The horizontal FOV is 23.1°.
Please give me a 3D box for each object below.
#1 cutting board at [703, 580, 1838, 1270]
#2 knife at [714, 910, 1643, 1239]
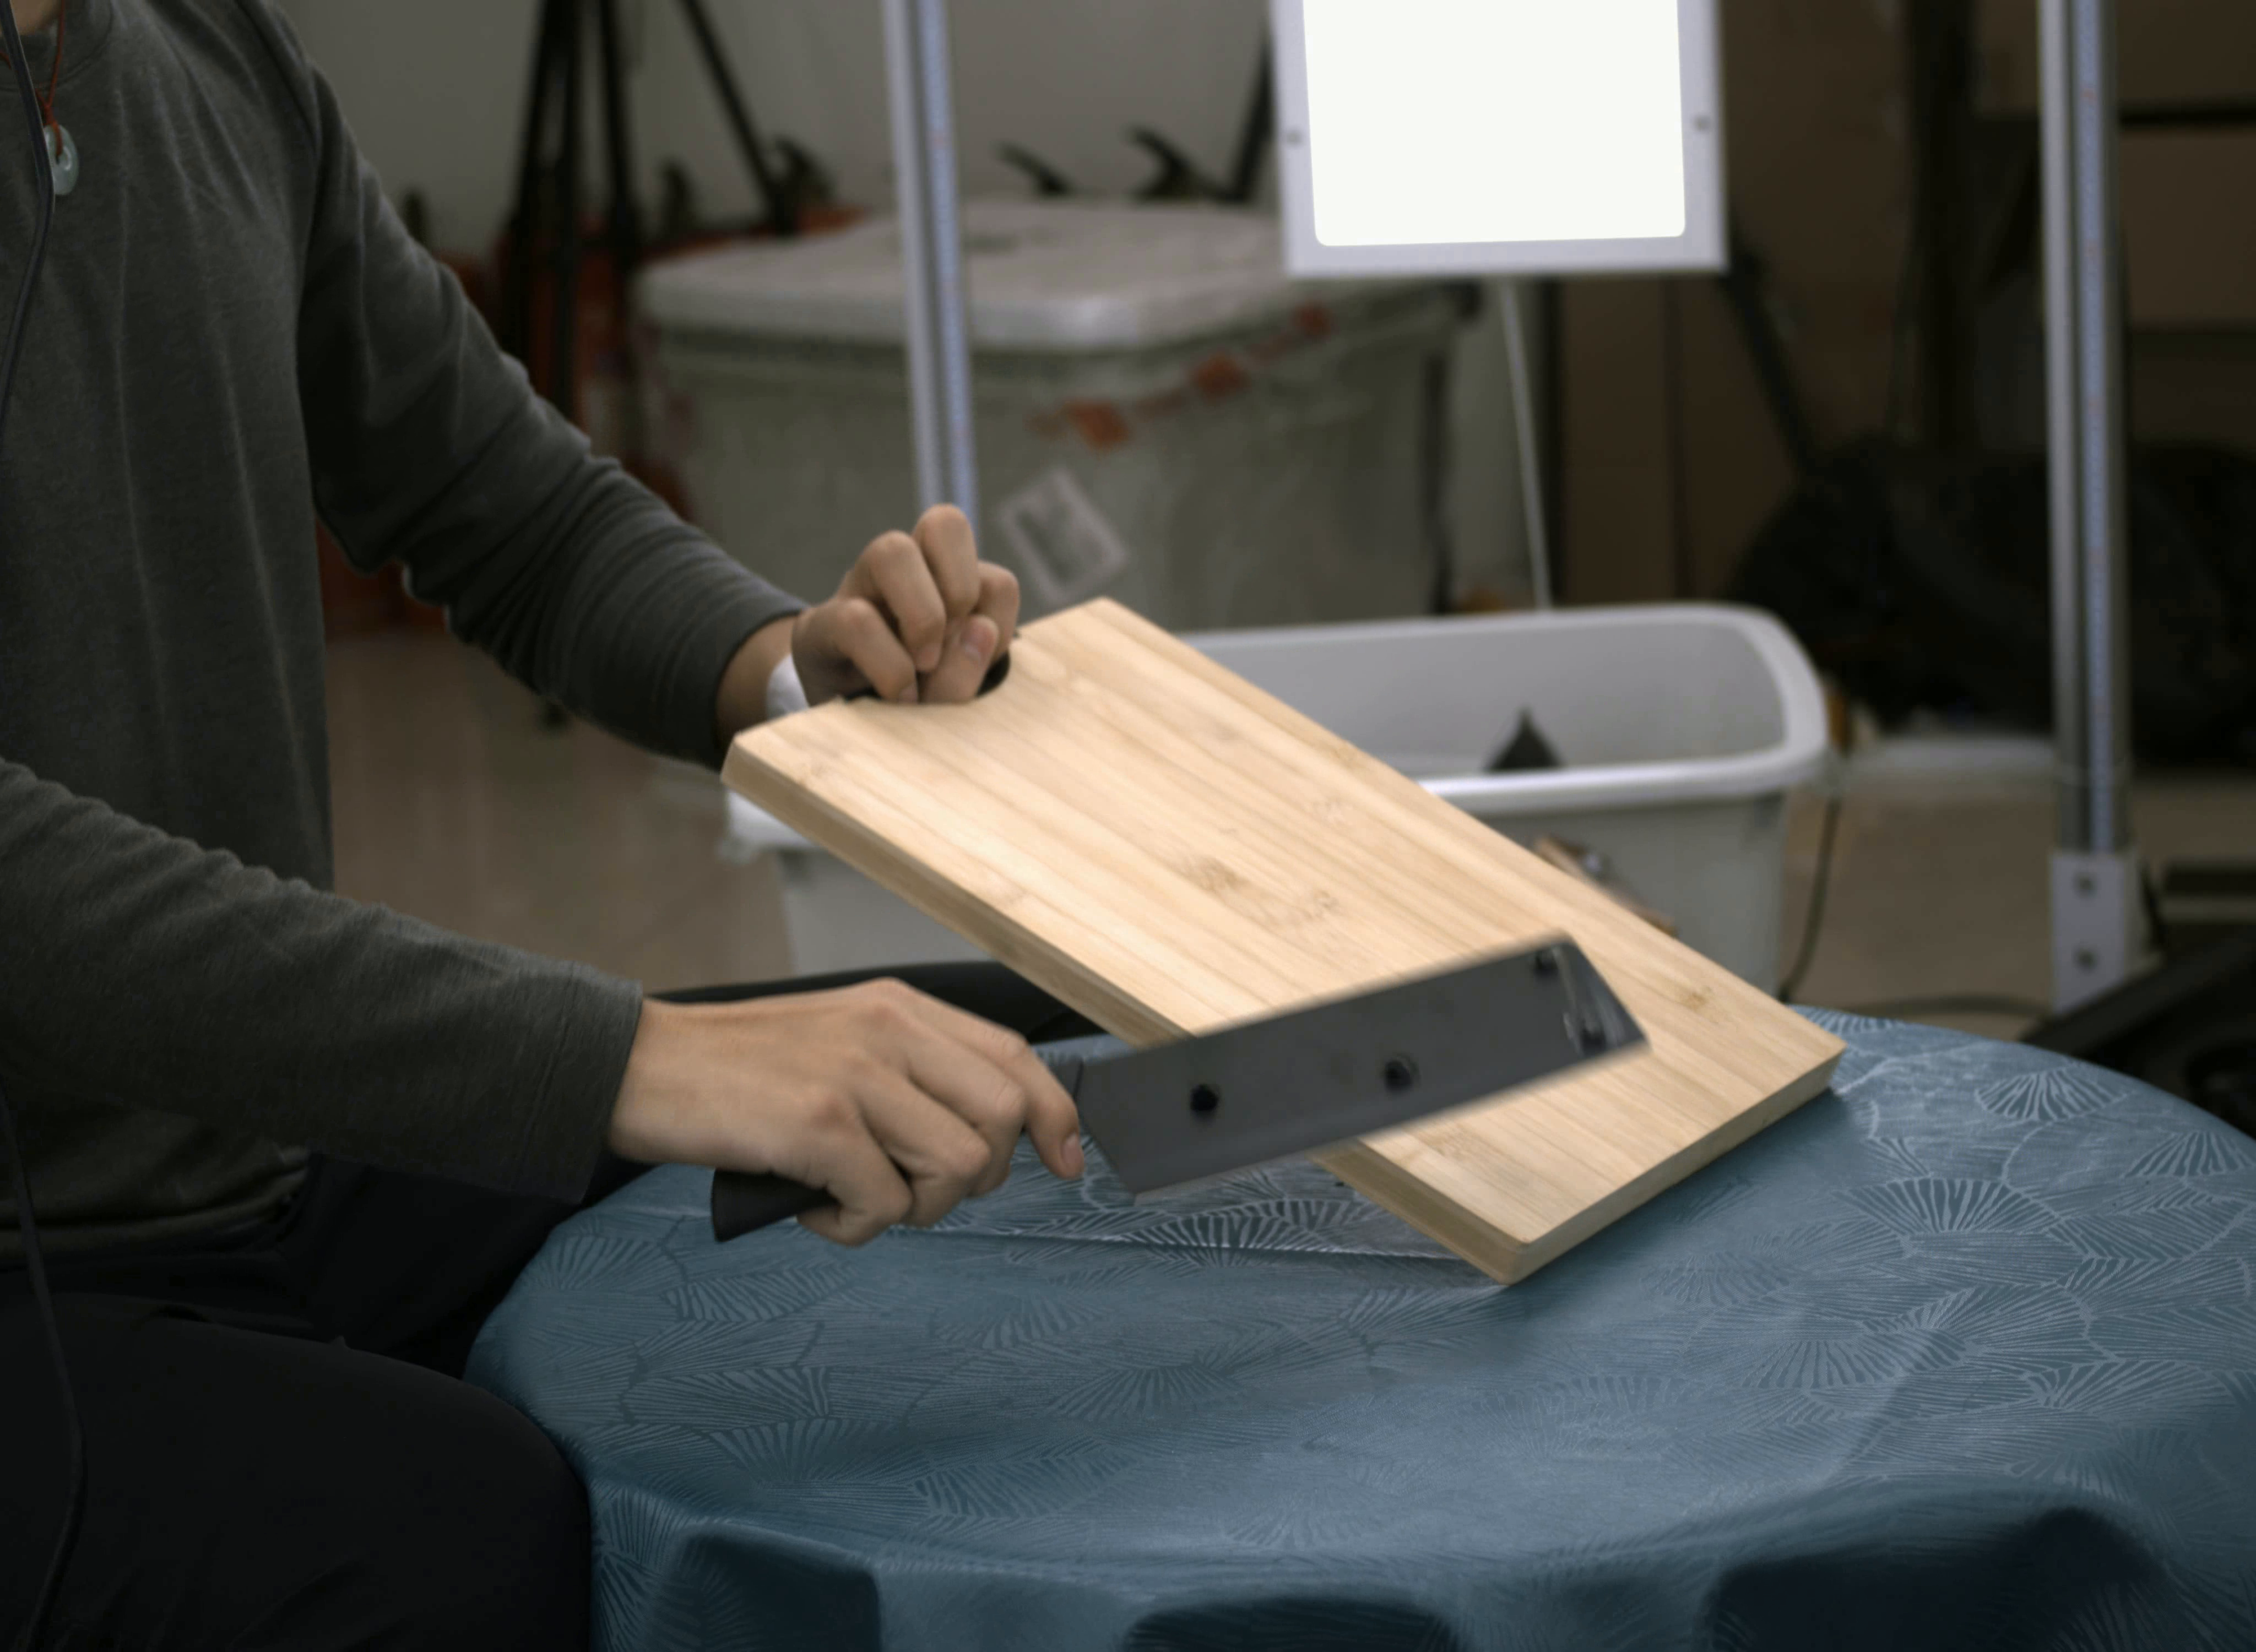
[{"bbox_3d":[0.052,0.027,1.931,0.353,0.024,0.245,32,30,23],"label":"cutting board"},{"bbox_3d":[0.015,0.080,1.697,0.298,0.021,0.081,-13,38,-14],"label":"knife"}]
